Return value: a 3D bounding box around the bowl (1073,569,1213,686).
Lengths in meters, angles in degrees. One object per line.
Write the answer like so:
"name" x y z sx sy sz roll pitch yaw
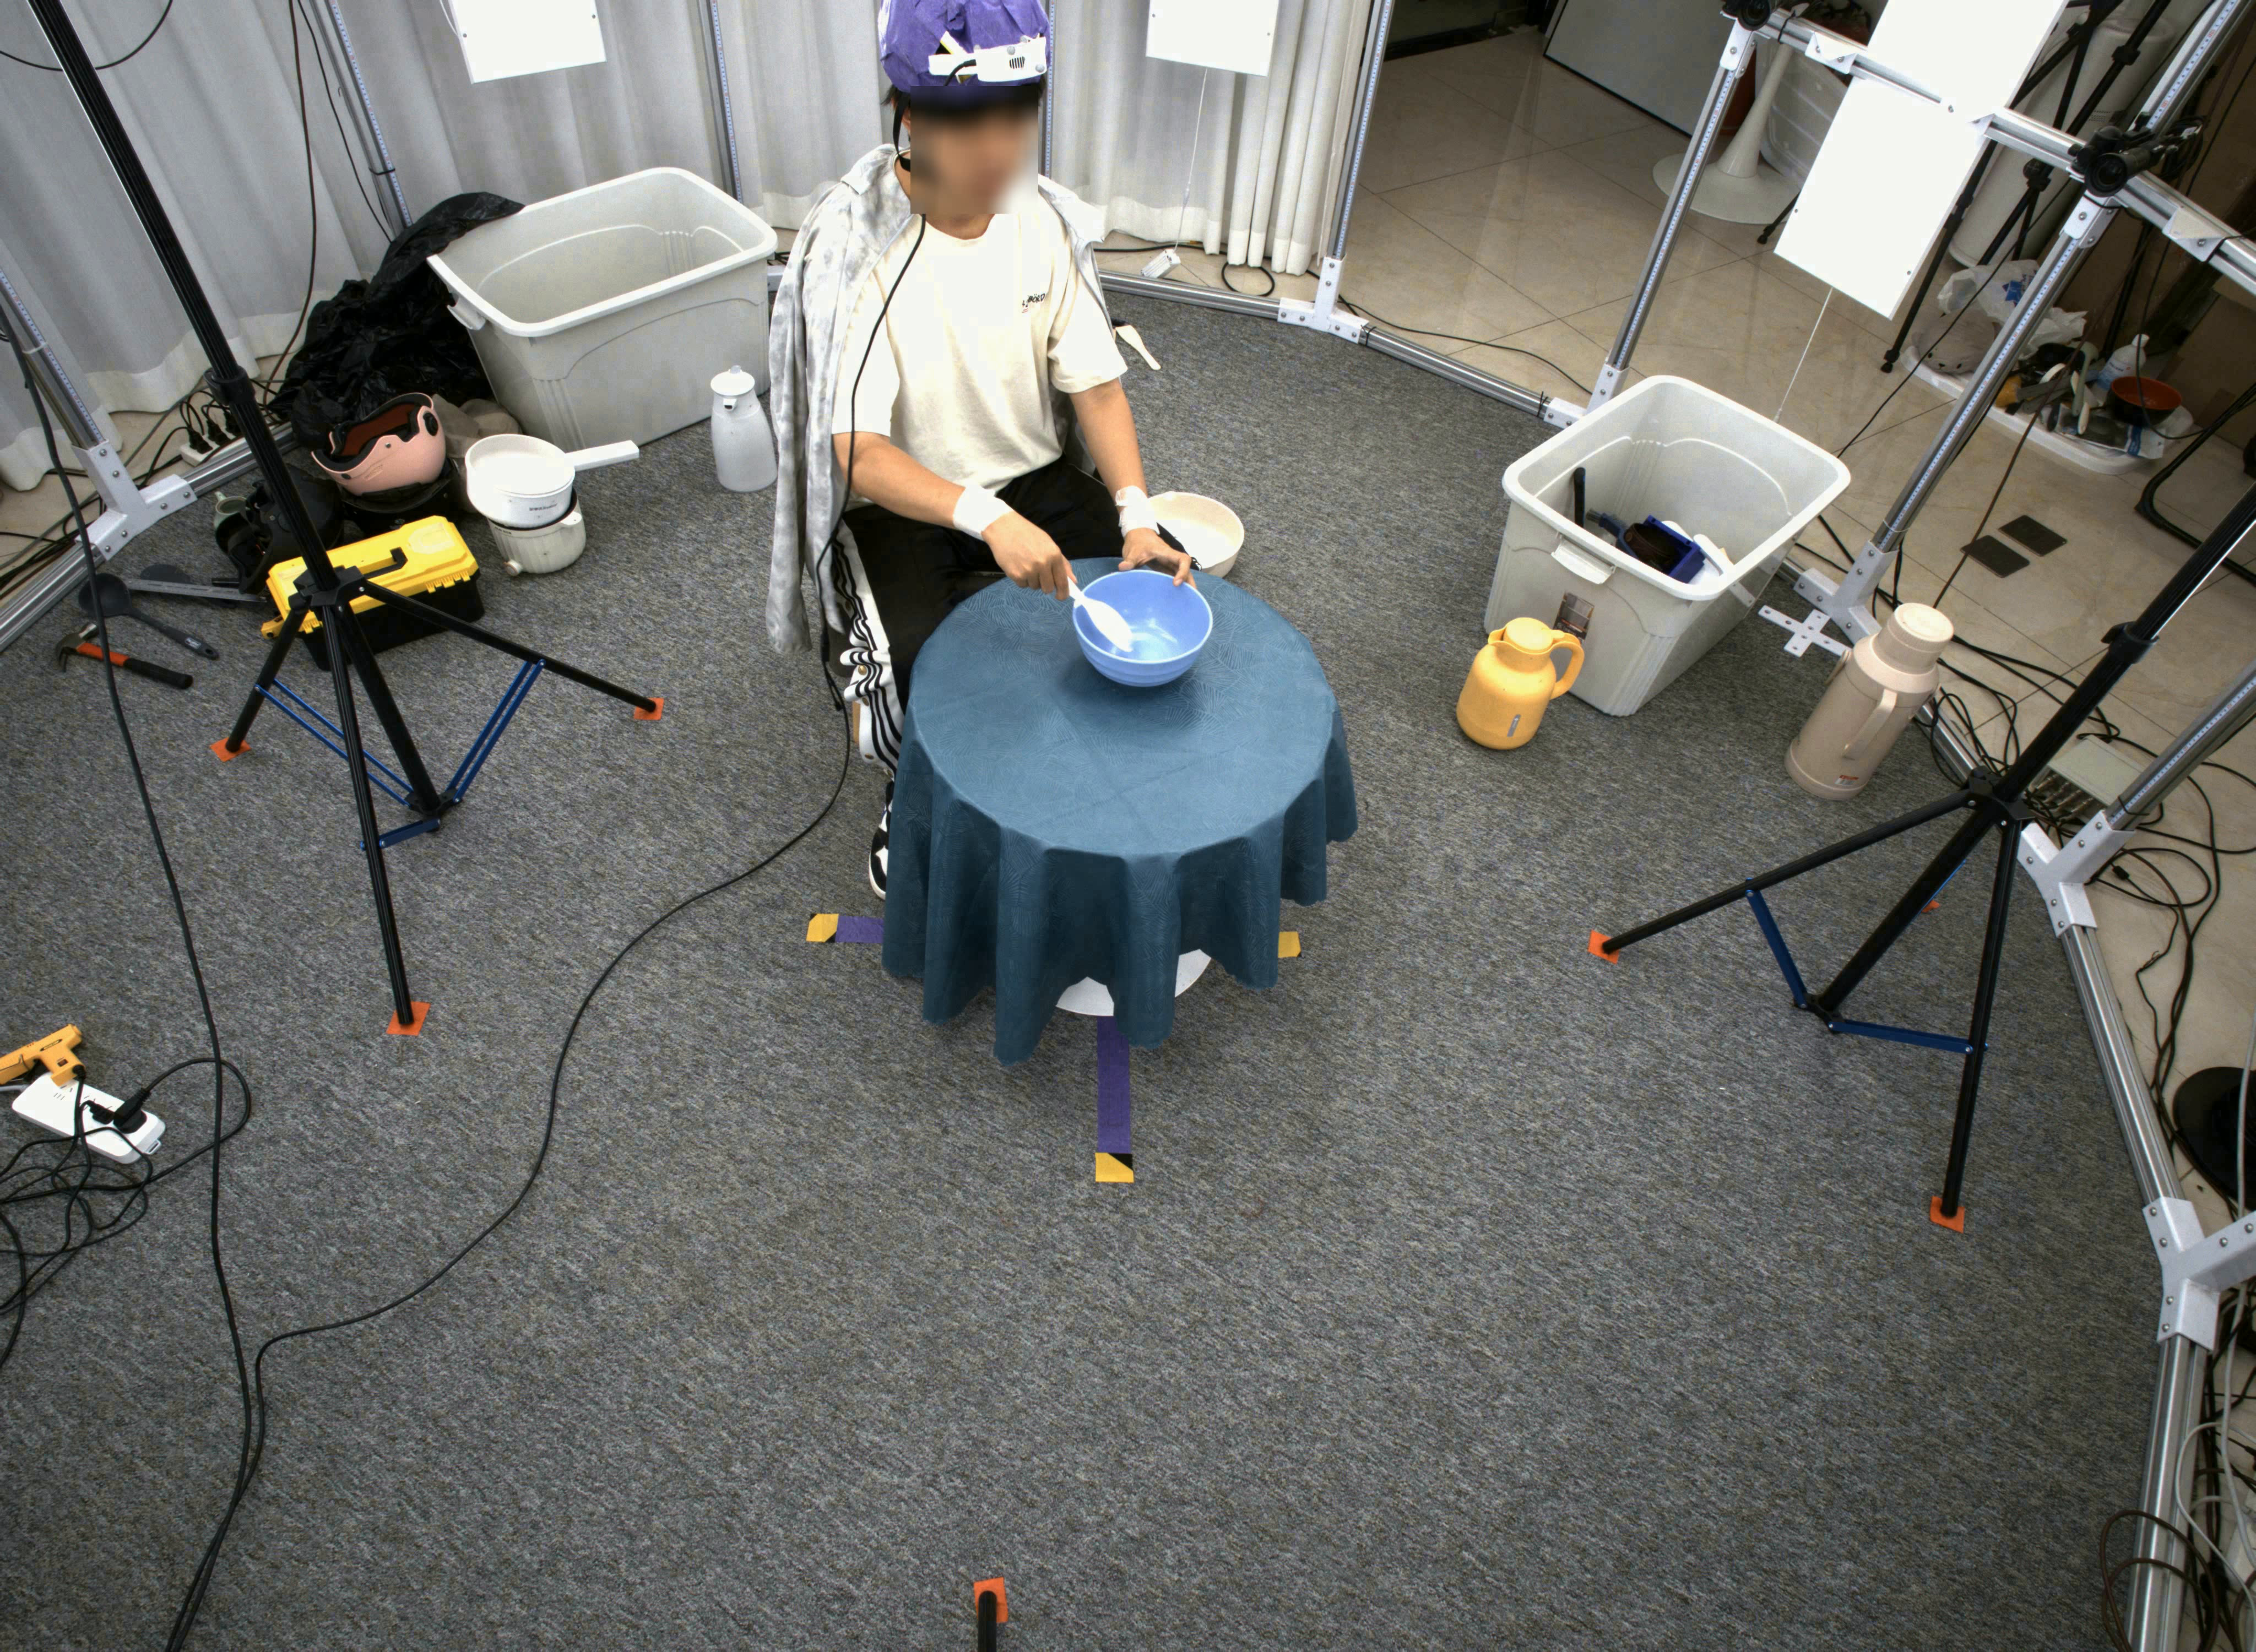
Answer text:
"bowl" 0.018 -0.268 1.833 0.196 0.093 0.201 2 50 -2

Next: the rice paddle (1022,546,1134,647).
"rice paddle" -0.061 -0.315 1.780 0.202 0.029 0.070 35 38 -31
